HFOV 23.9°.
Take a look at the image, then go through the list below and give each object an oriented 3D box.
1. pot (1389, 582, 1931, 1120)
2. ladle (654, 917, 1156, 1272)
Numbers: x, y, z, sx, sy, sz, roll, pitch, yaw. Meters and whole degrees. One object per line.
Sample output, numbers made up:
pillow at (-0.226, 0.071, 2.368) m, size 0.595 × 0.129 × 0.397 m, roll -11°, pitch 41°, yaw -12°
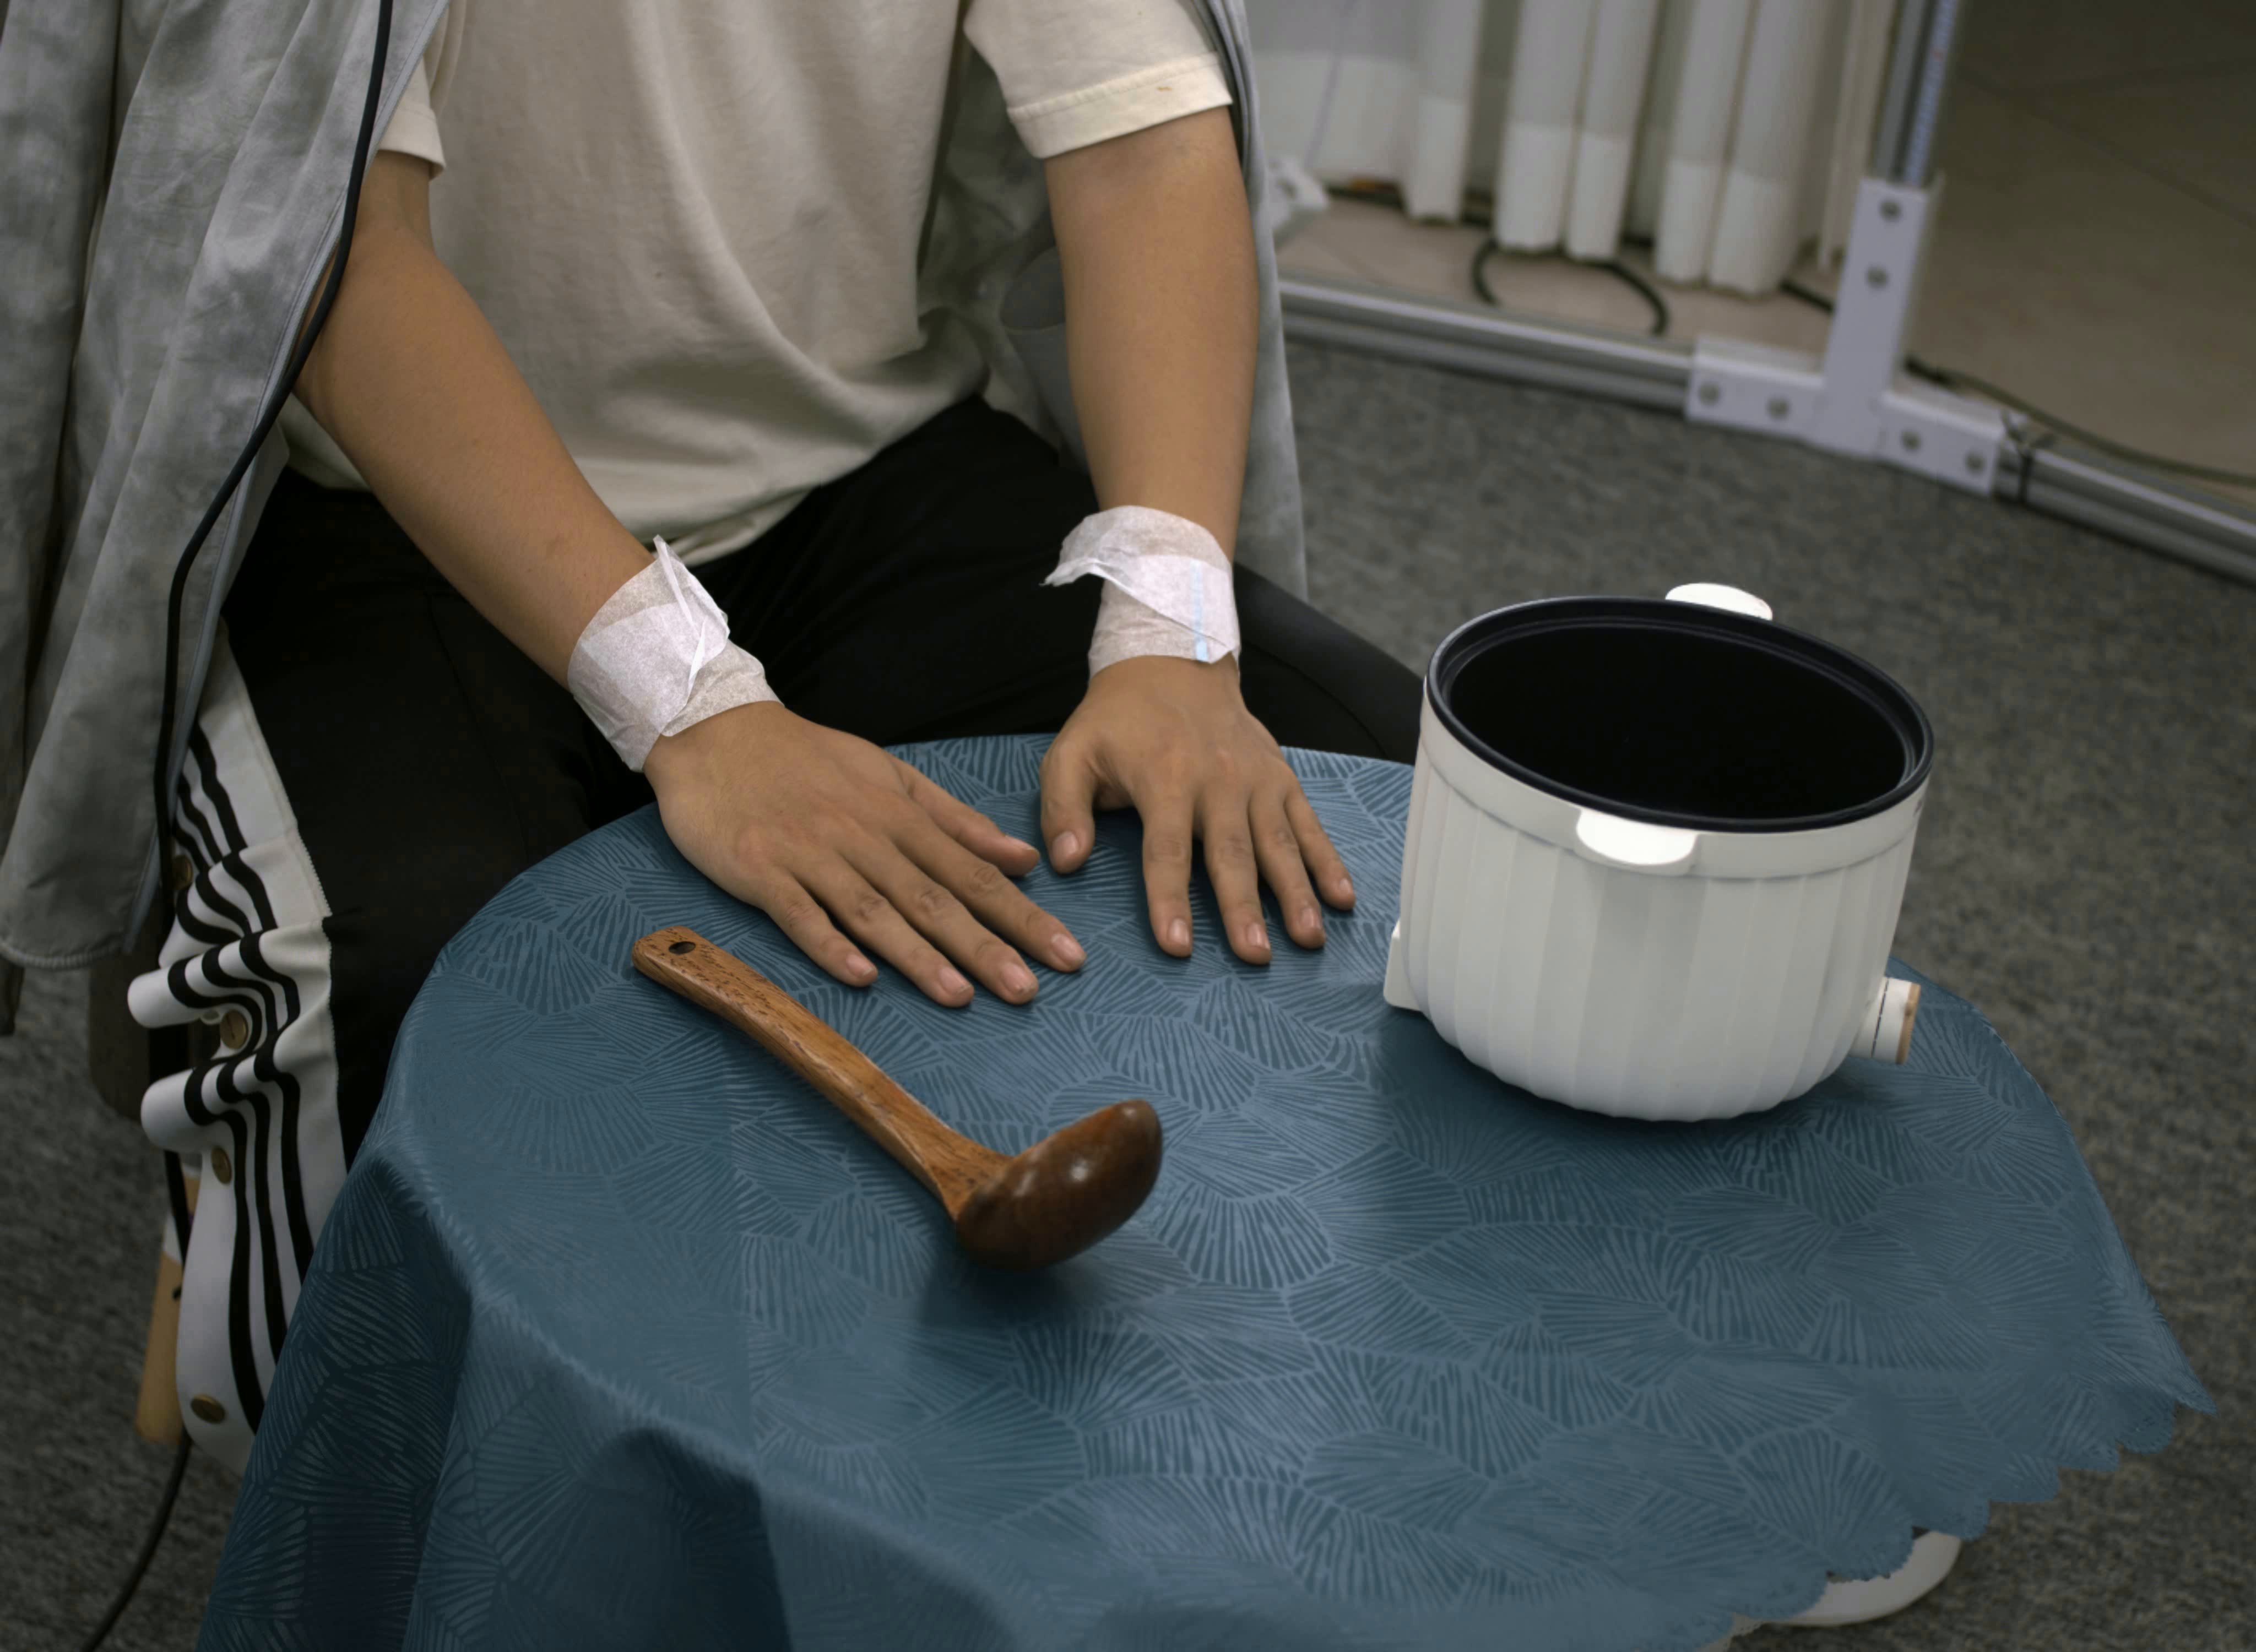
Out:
pot at (0.193, 0.016, 1.906) m, size 0.190 × 0.142 × 0.241 m, roll 8°, pitch 27°, yaw 11°
ladle at (-0.088, 0.072, 1.802) m, size 0.081 × 0.076 × 0.276 m, roll -20°, pitch 37°, yaw -29°
